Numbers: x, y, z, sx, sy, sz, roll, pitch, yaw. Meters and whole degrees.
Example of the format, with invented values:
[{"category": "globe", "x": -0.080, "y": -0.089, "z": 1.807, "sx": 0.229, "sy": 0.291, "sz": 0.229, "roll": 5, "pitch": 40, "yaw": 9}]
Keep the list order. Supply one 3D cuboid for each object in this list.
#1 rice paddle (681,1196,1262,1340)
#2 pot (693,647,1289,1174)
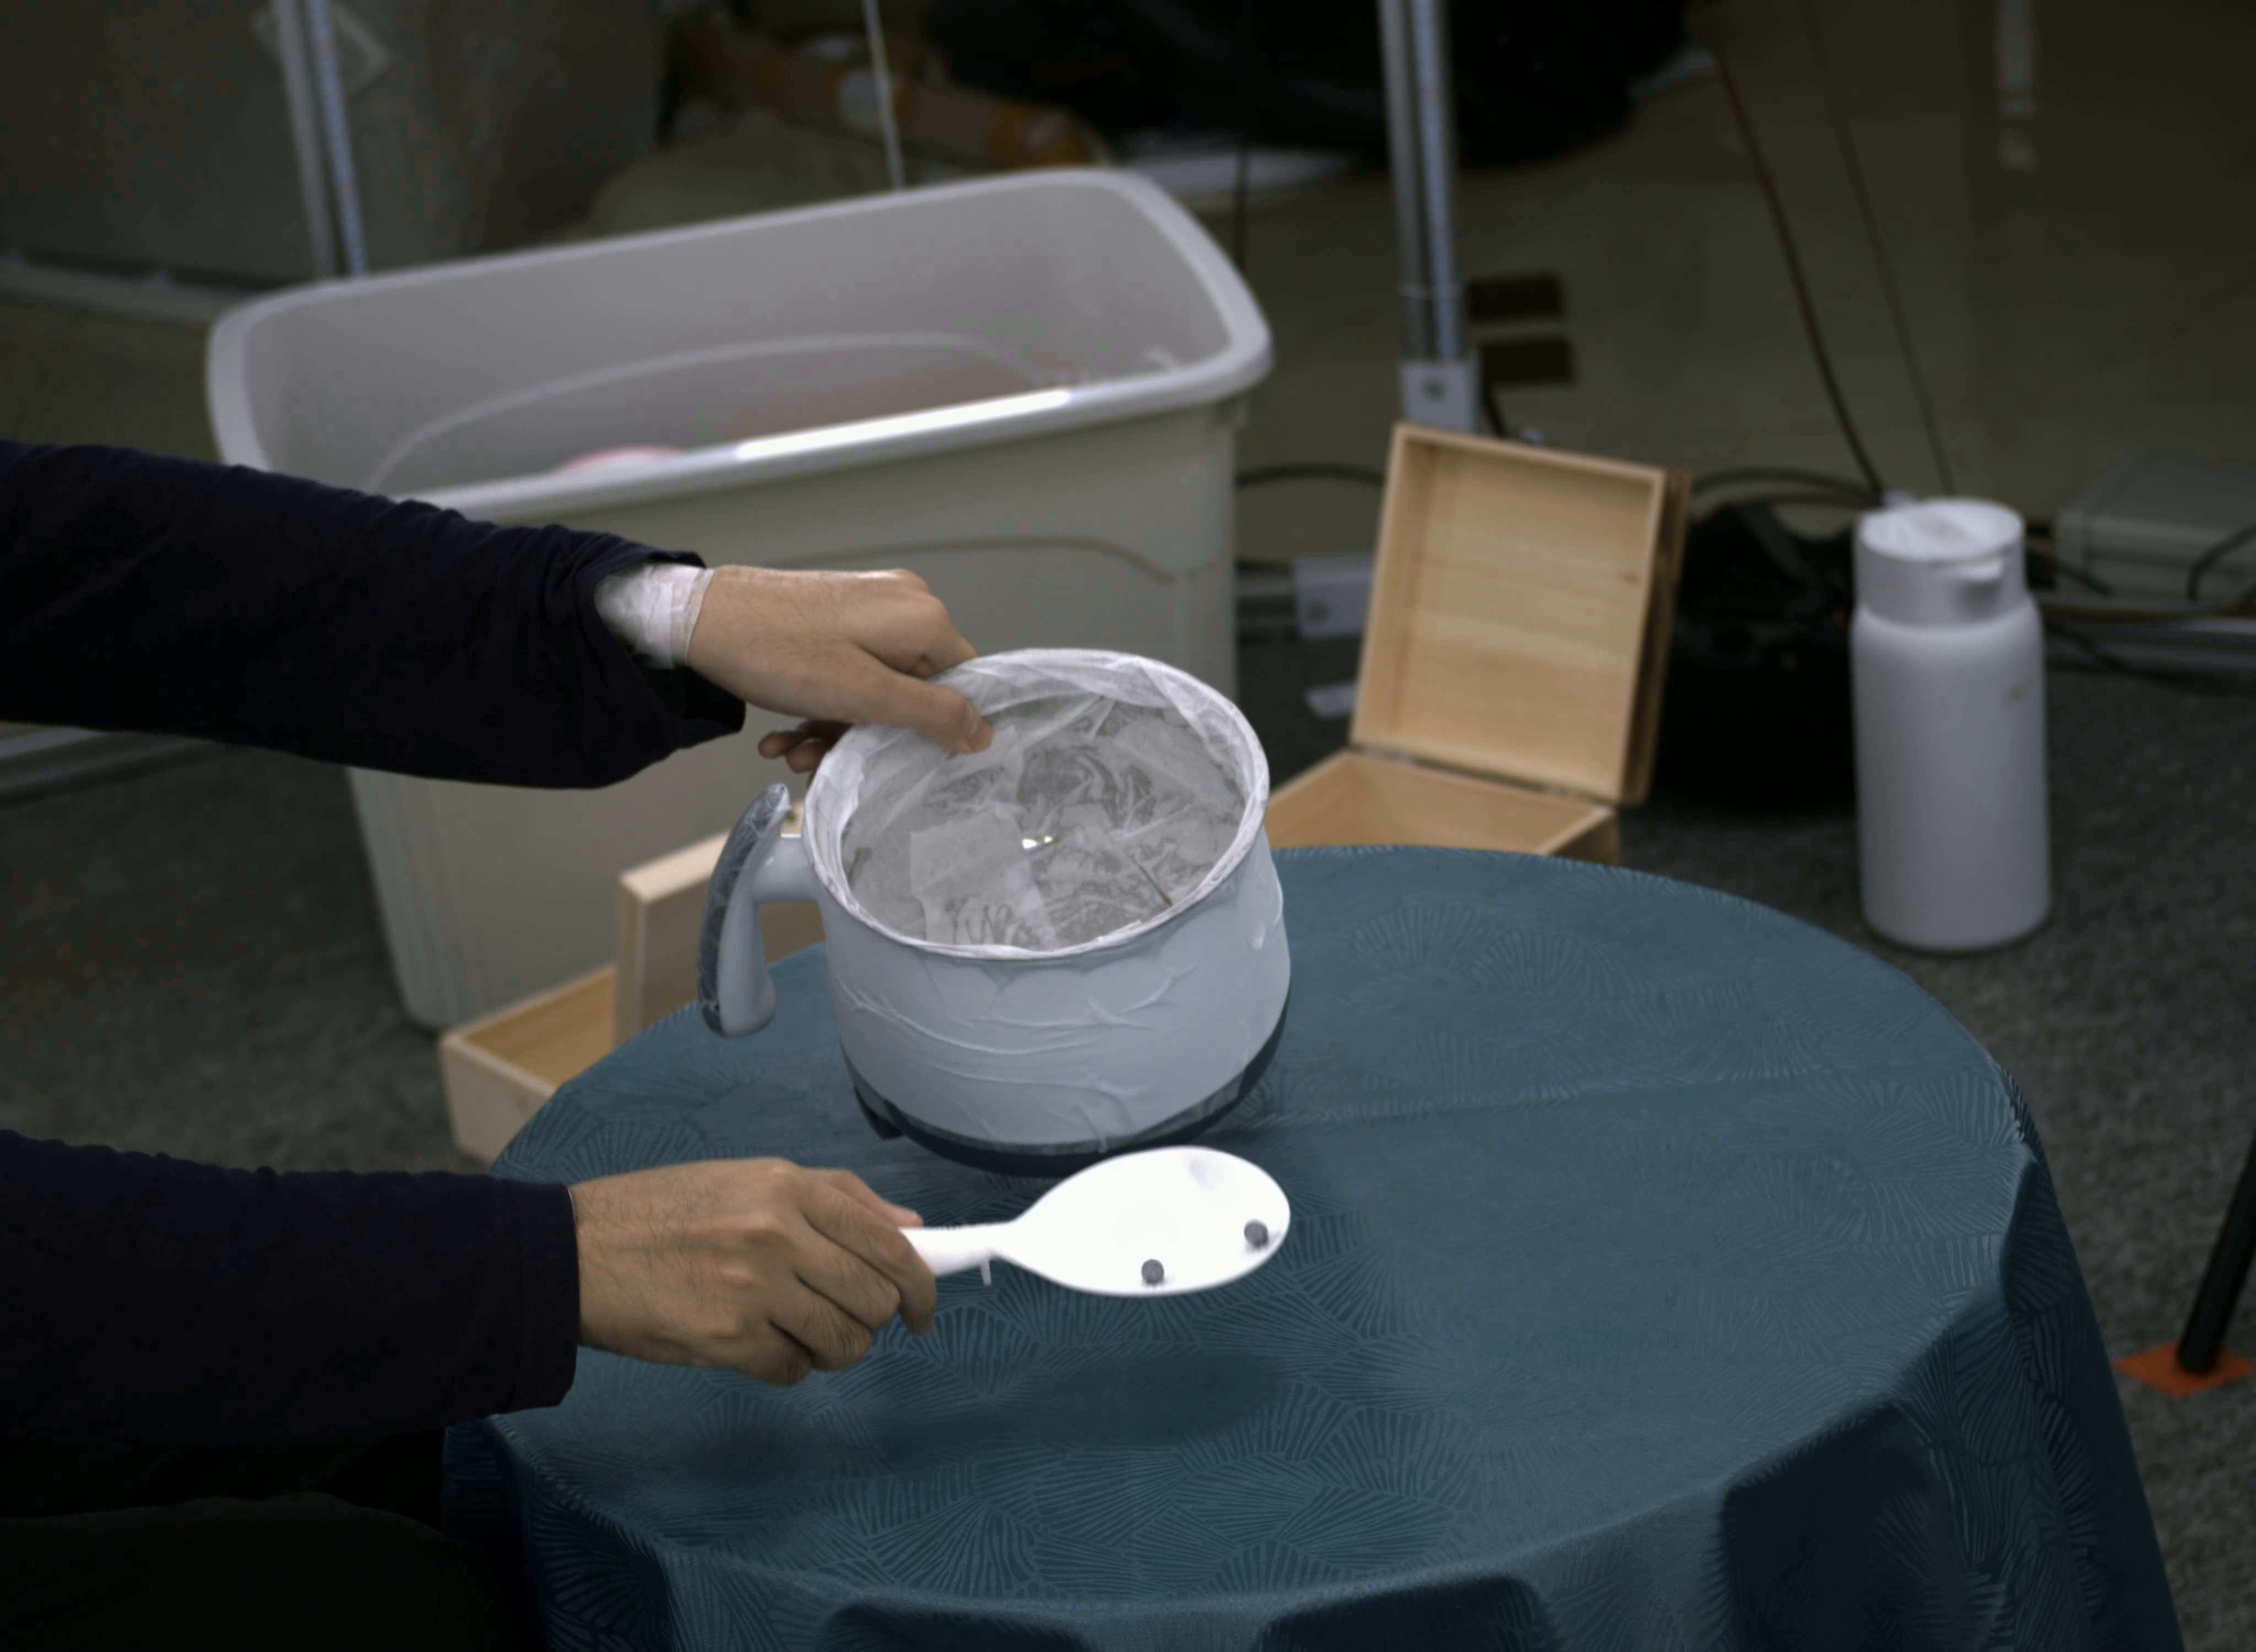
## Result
[{"category": "rice paddle", "x": -0.054, "y": 0.156, "z": 1.994, "sx": 0.205, "sy": 0.030, "sz": 0.067, "roll": -4, "pitch": 37, "yaw": -6}, {"category": "pot", "x": -0.056, "y": 0.036, "z": 2.170, "sx": 0.233, "sy": 0.139, "sz": 0.175, "roll": 0, "pitch": 40, "yaw": 7}]
